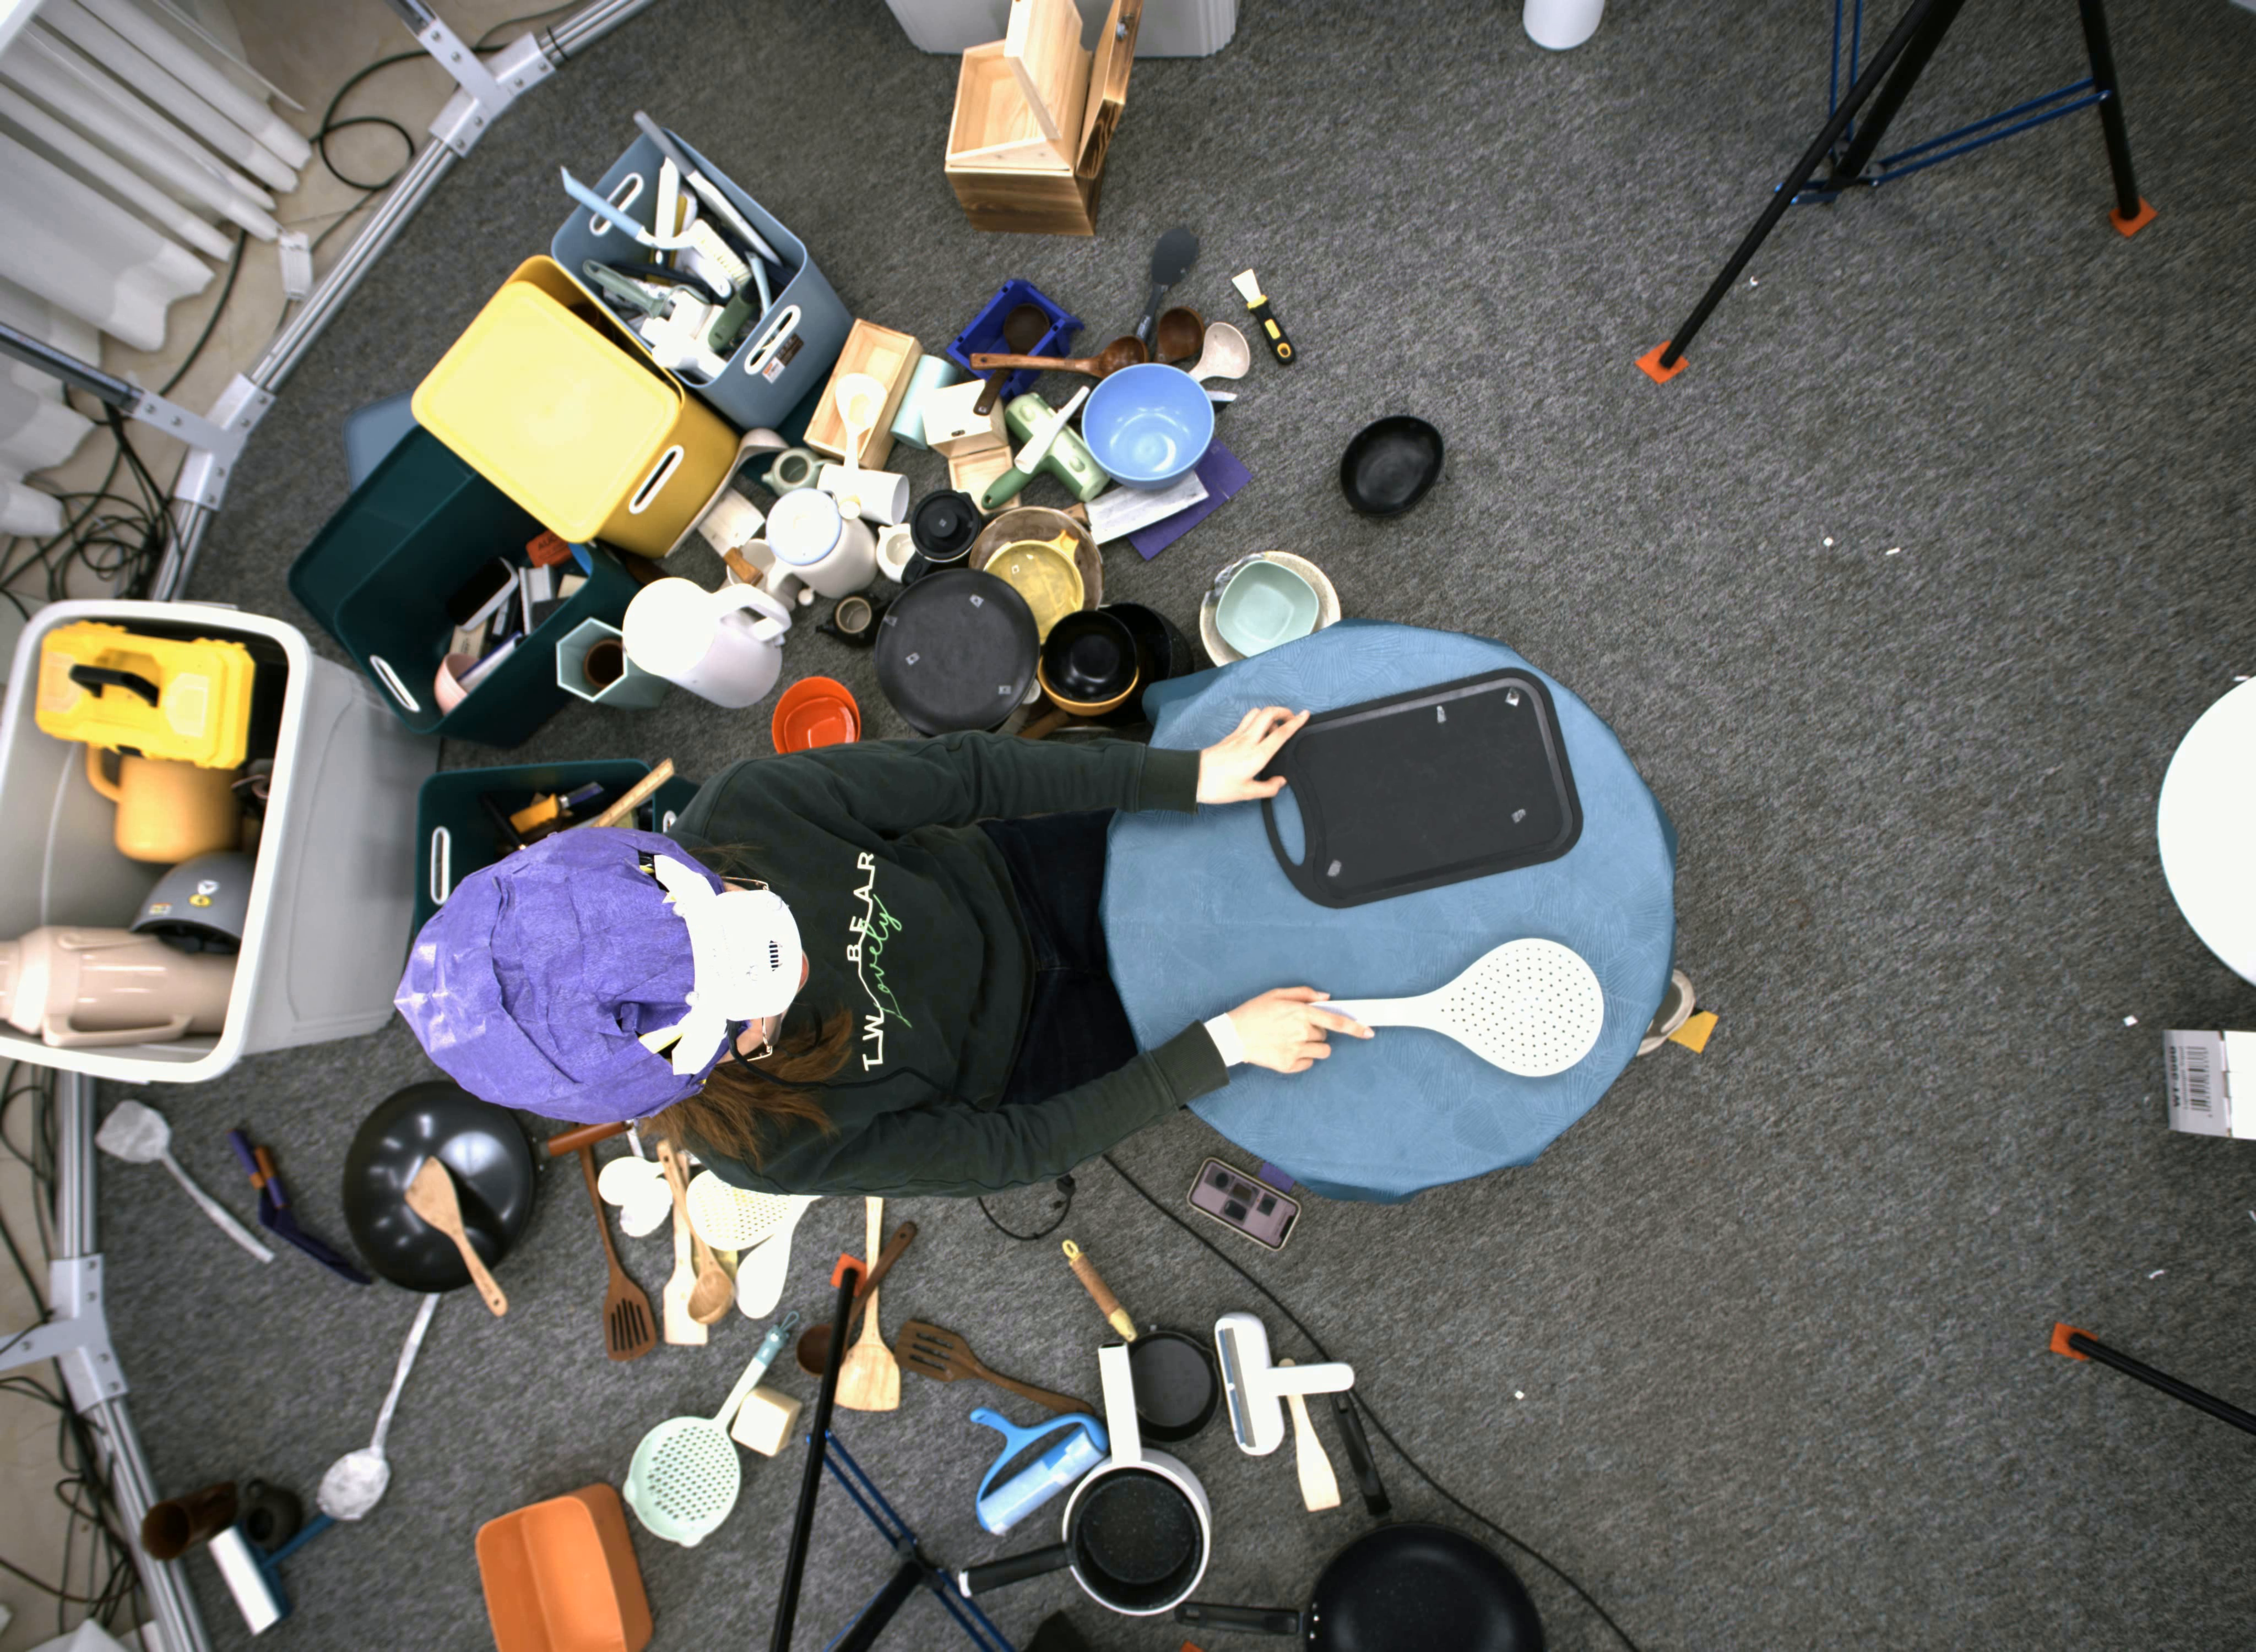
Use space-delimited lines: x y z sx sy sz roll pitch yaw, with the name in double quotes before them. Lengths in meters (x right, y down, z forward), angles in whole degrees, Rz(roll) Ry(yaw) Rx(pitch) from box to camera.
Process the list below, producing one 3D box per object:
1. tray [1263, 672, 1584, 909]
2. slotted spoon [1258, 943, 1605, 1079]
"tray" 0.307 -0.036 1.459 0.327 0.010 0.210 -14 85 9
"slotted spoon" 0.308 0.192 1.427 0.351 0.046 0.135 -3 83 11
